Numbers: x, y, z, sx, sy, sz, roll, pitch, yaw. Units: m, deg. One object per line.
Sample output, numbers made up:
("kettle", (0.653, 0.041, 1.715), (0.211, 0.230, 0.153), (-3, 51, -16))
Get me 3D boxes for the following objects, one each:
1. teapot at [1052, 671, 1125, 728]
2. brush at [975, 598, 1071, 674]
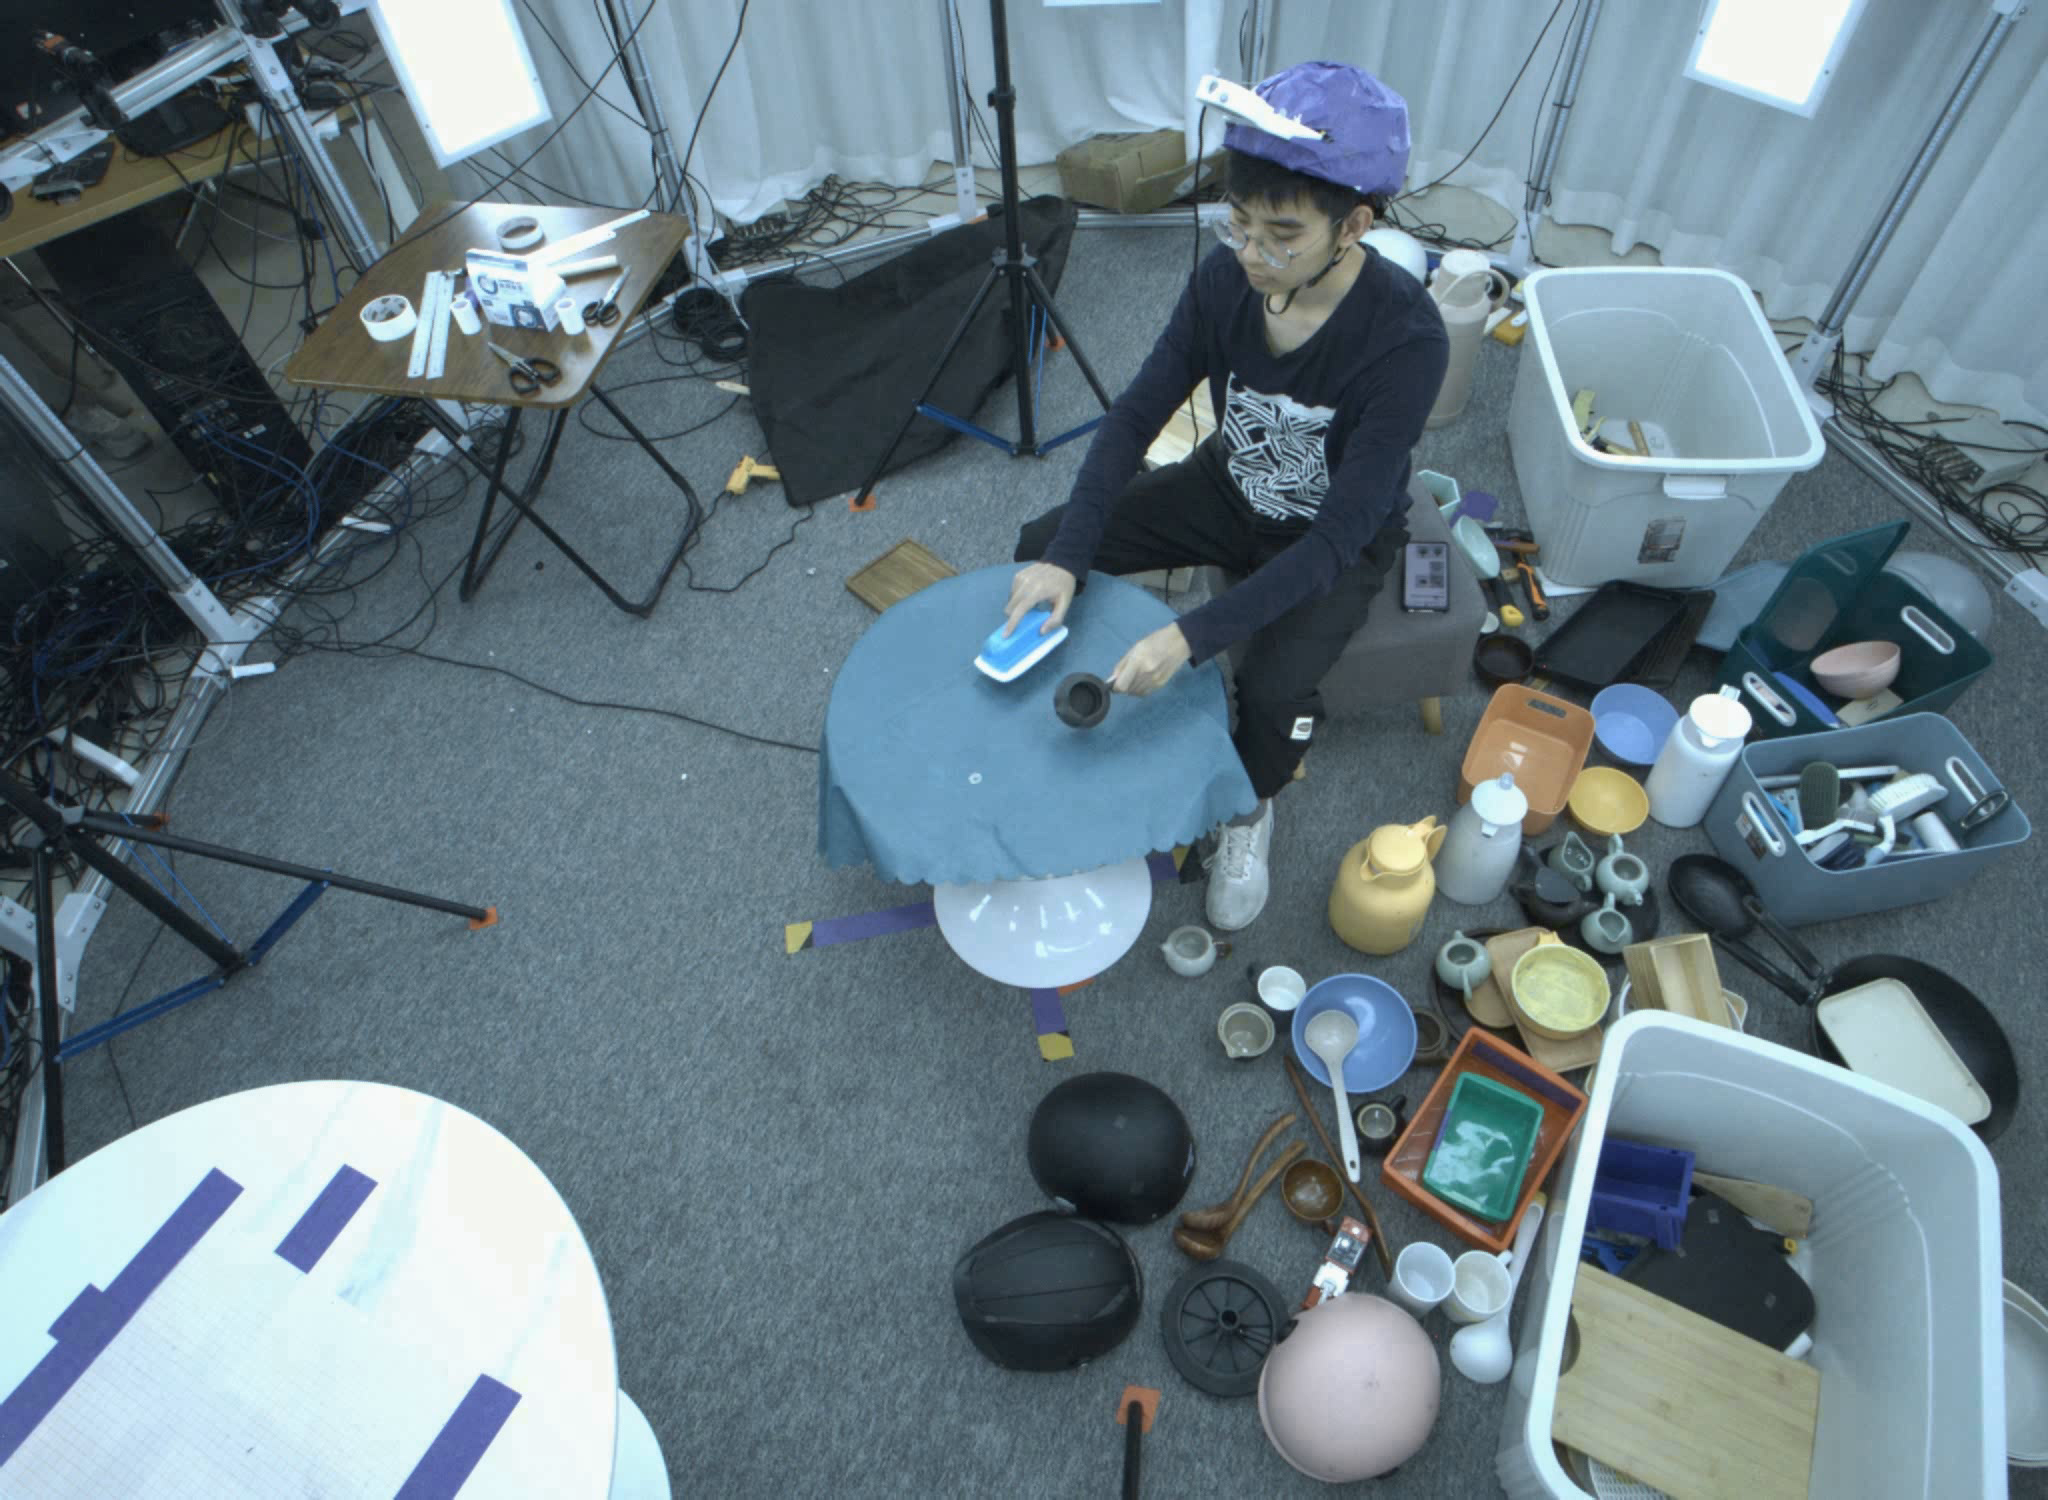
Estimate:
("teapot", (0.092, -0.077, 1.751), (0.114, 0.052, 0.083), (-24, 98, -7))
("brush", (-0.004, -0.178, 1.835), (0.145, 0.057, 0.082), (-40, 52, -19))
